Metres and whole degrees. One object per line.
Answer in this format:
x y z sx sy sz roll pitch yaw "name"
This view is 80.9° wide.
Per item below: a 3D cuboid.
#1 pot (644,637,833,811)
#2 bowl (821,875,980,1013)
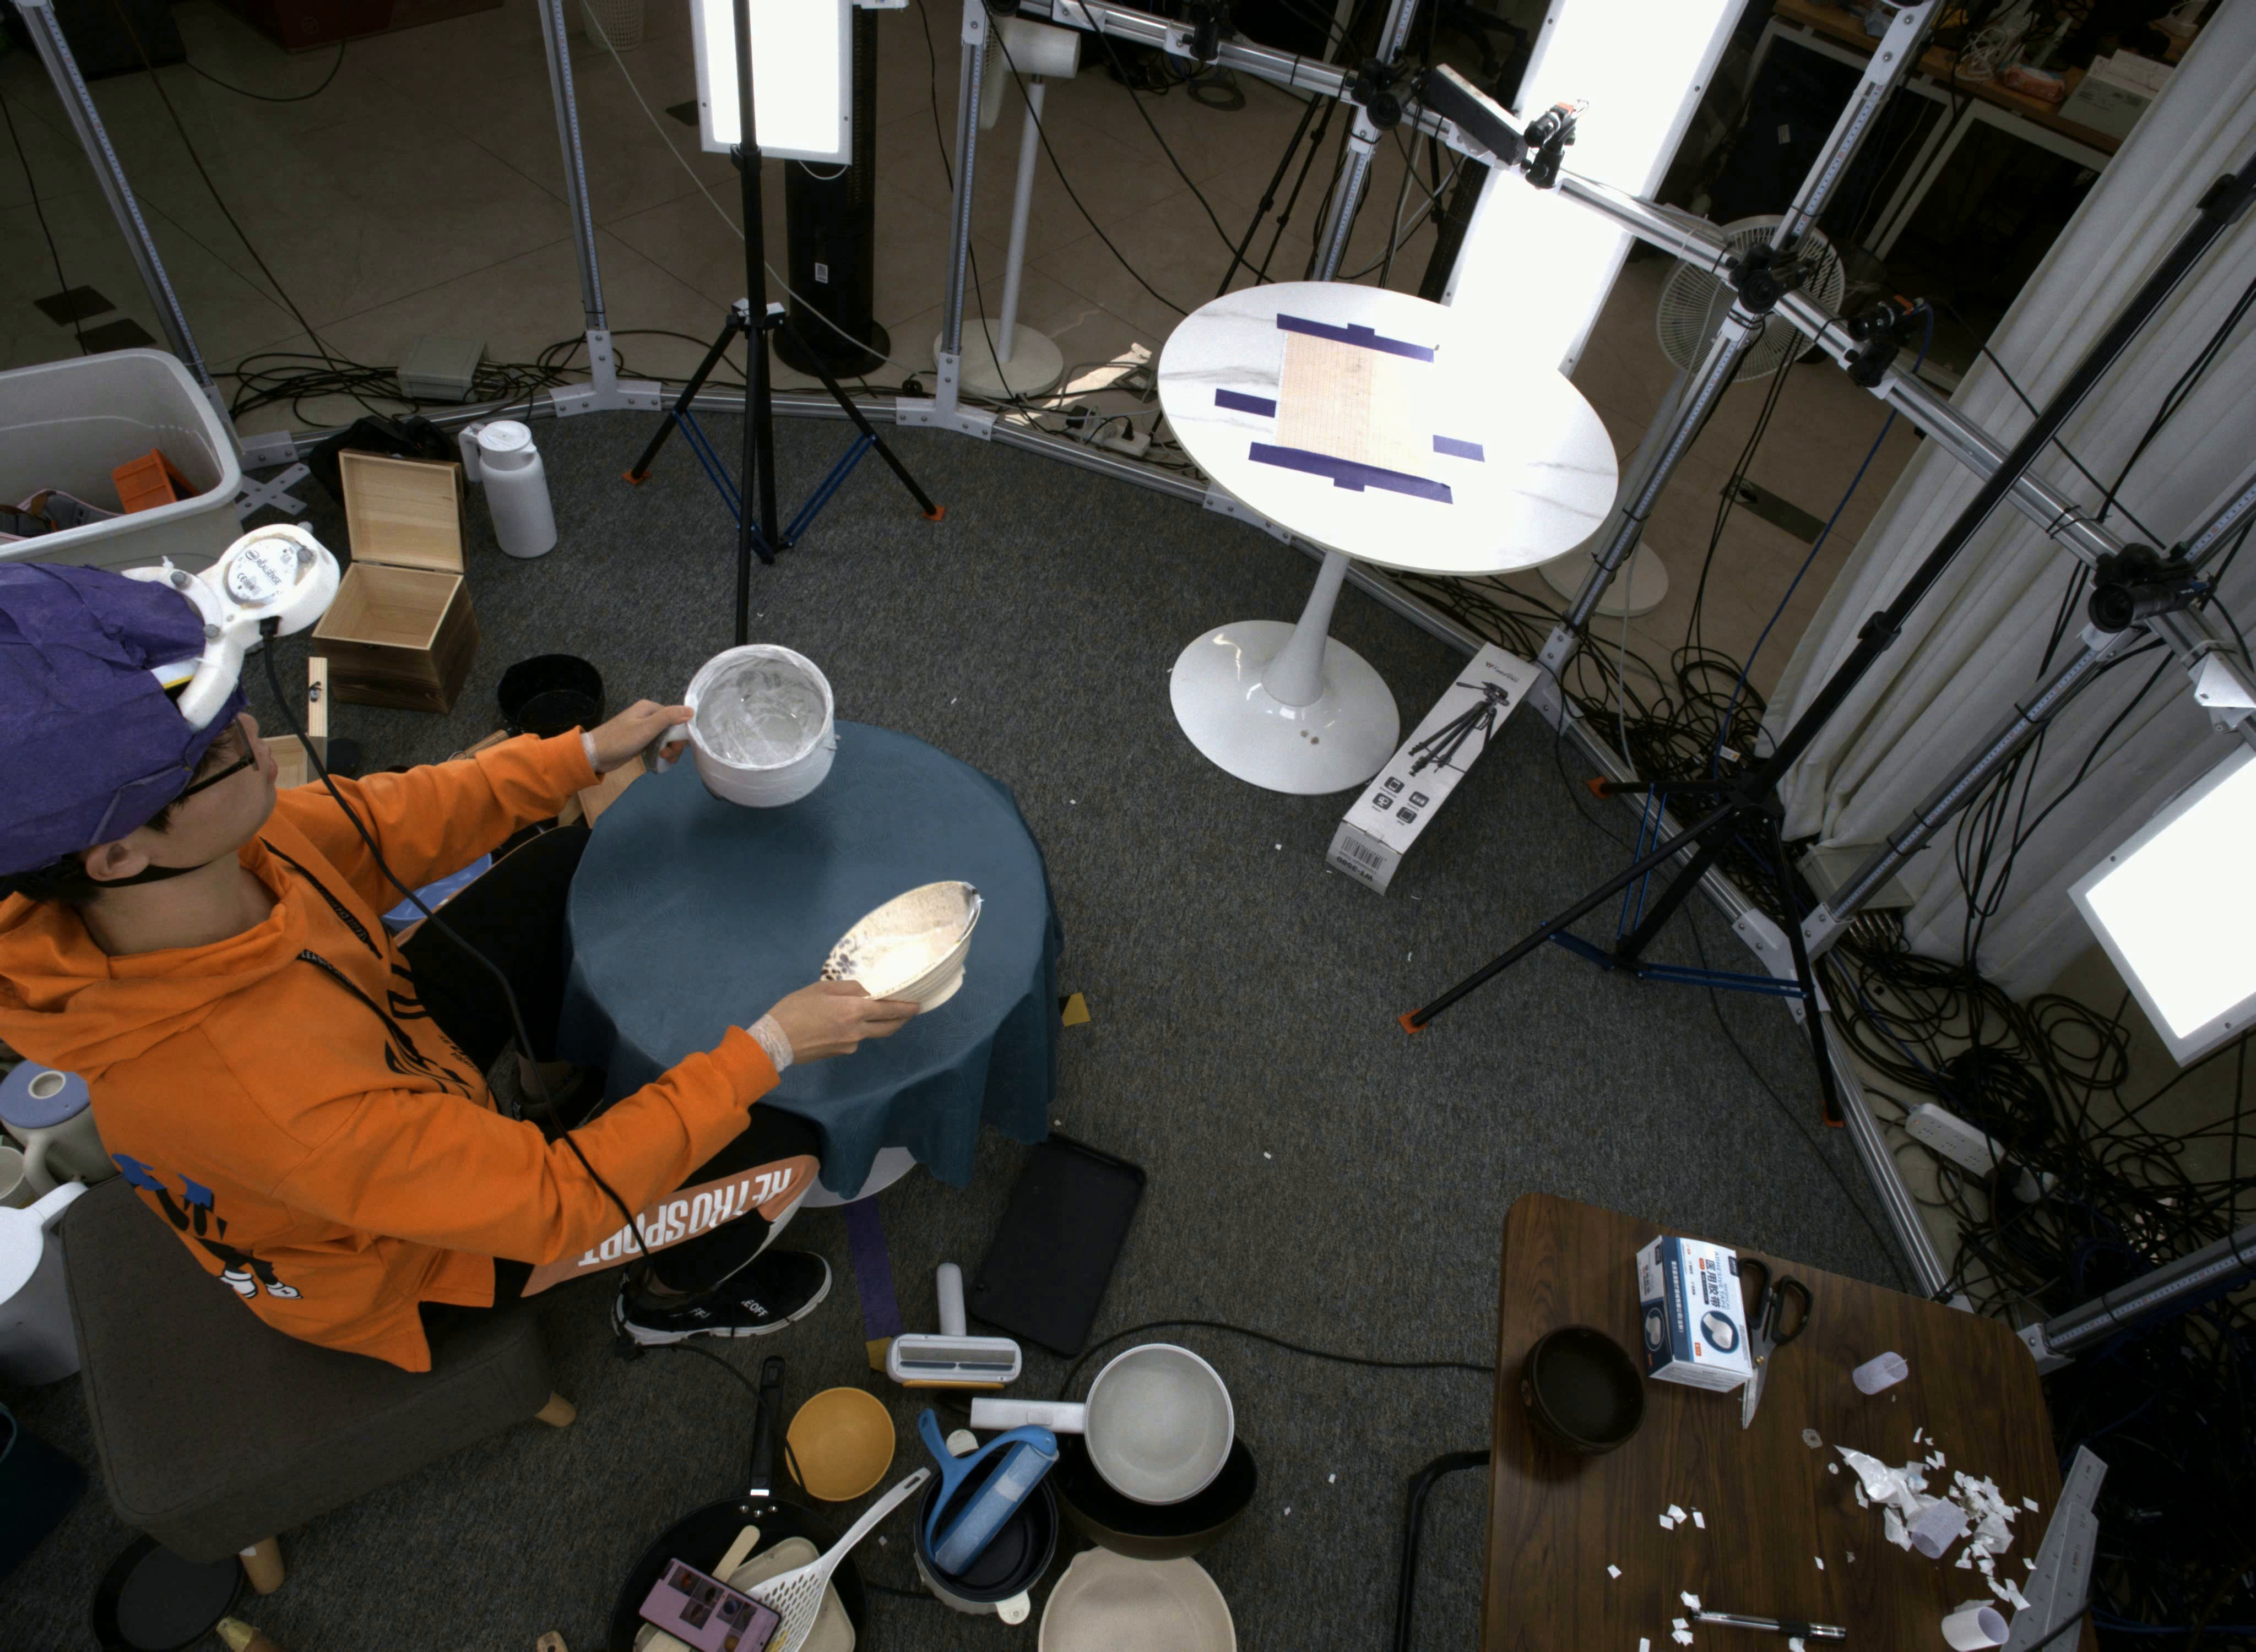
-0.480 -0.116 1.582 0.234 0.138 0.176 -10 66 -17 "pot"
-0.237 0.148 1.453 0.201 0.081 0.200 -21 29 15 "bowl"
